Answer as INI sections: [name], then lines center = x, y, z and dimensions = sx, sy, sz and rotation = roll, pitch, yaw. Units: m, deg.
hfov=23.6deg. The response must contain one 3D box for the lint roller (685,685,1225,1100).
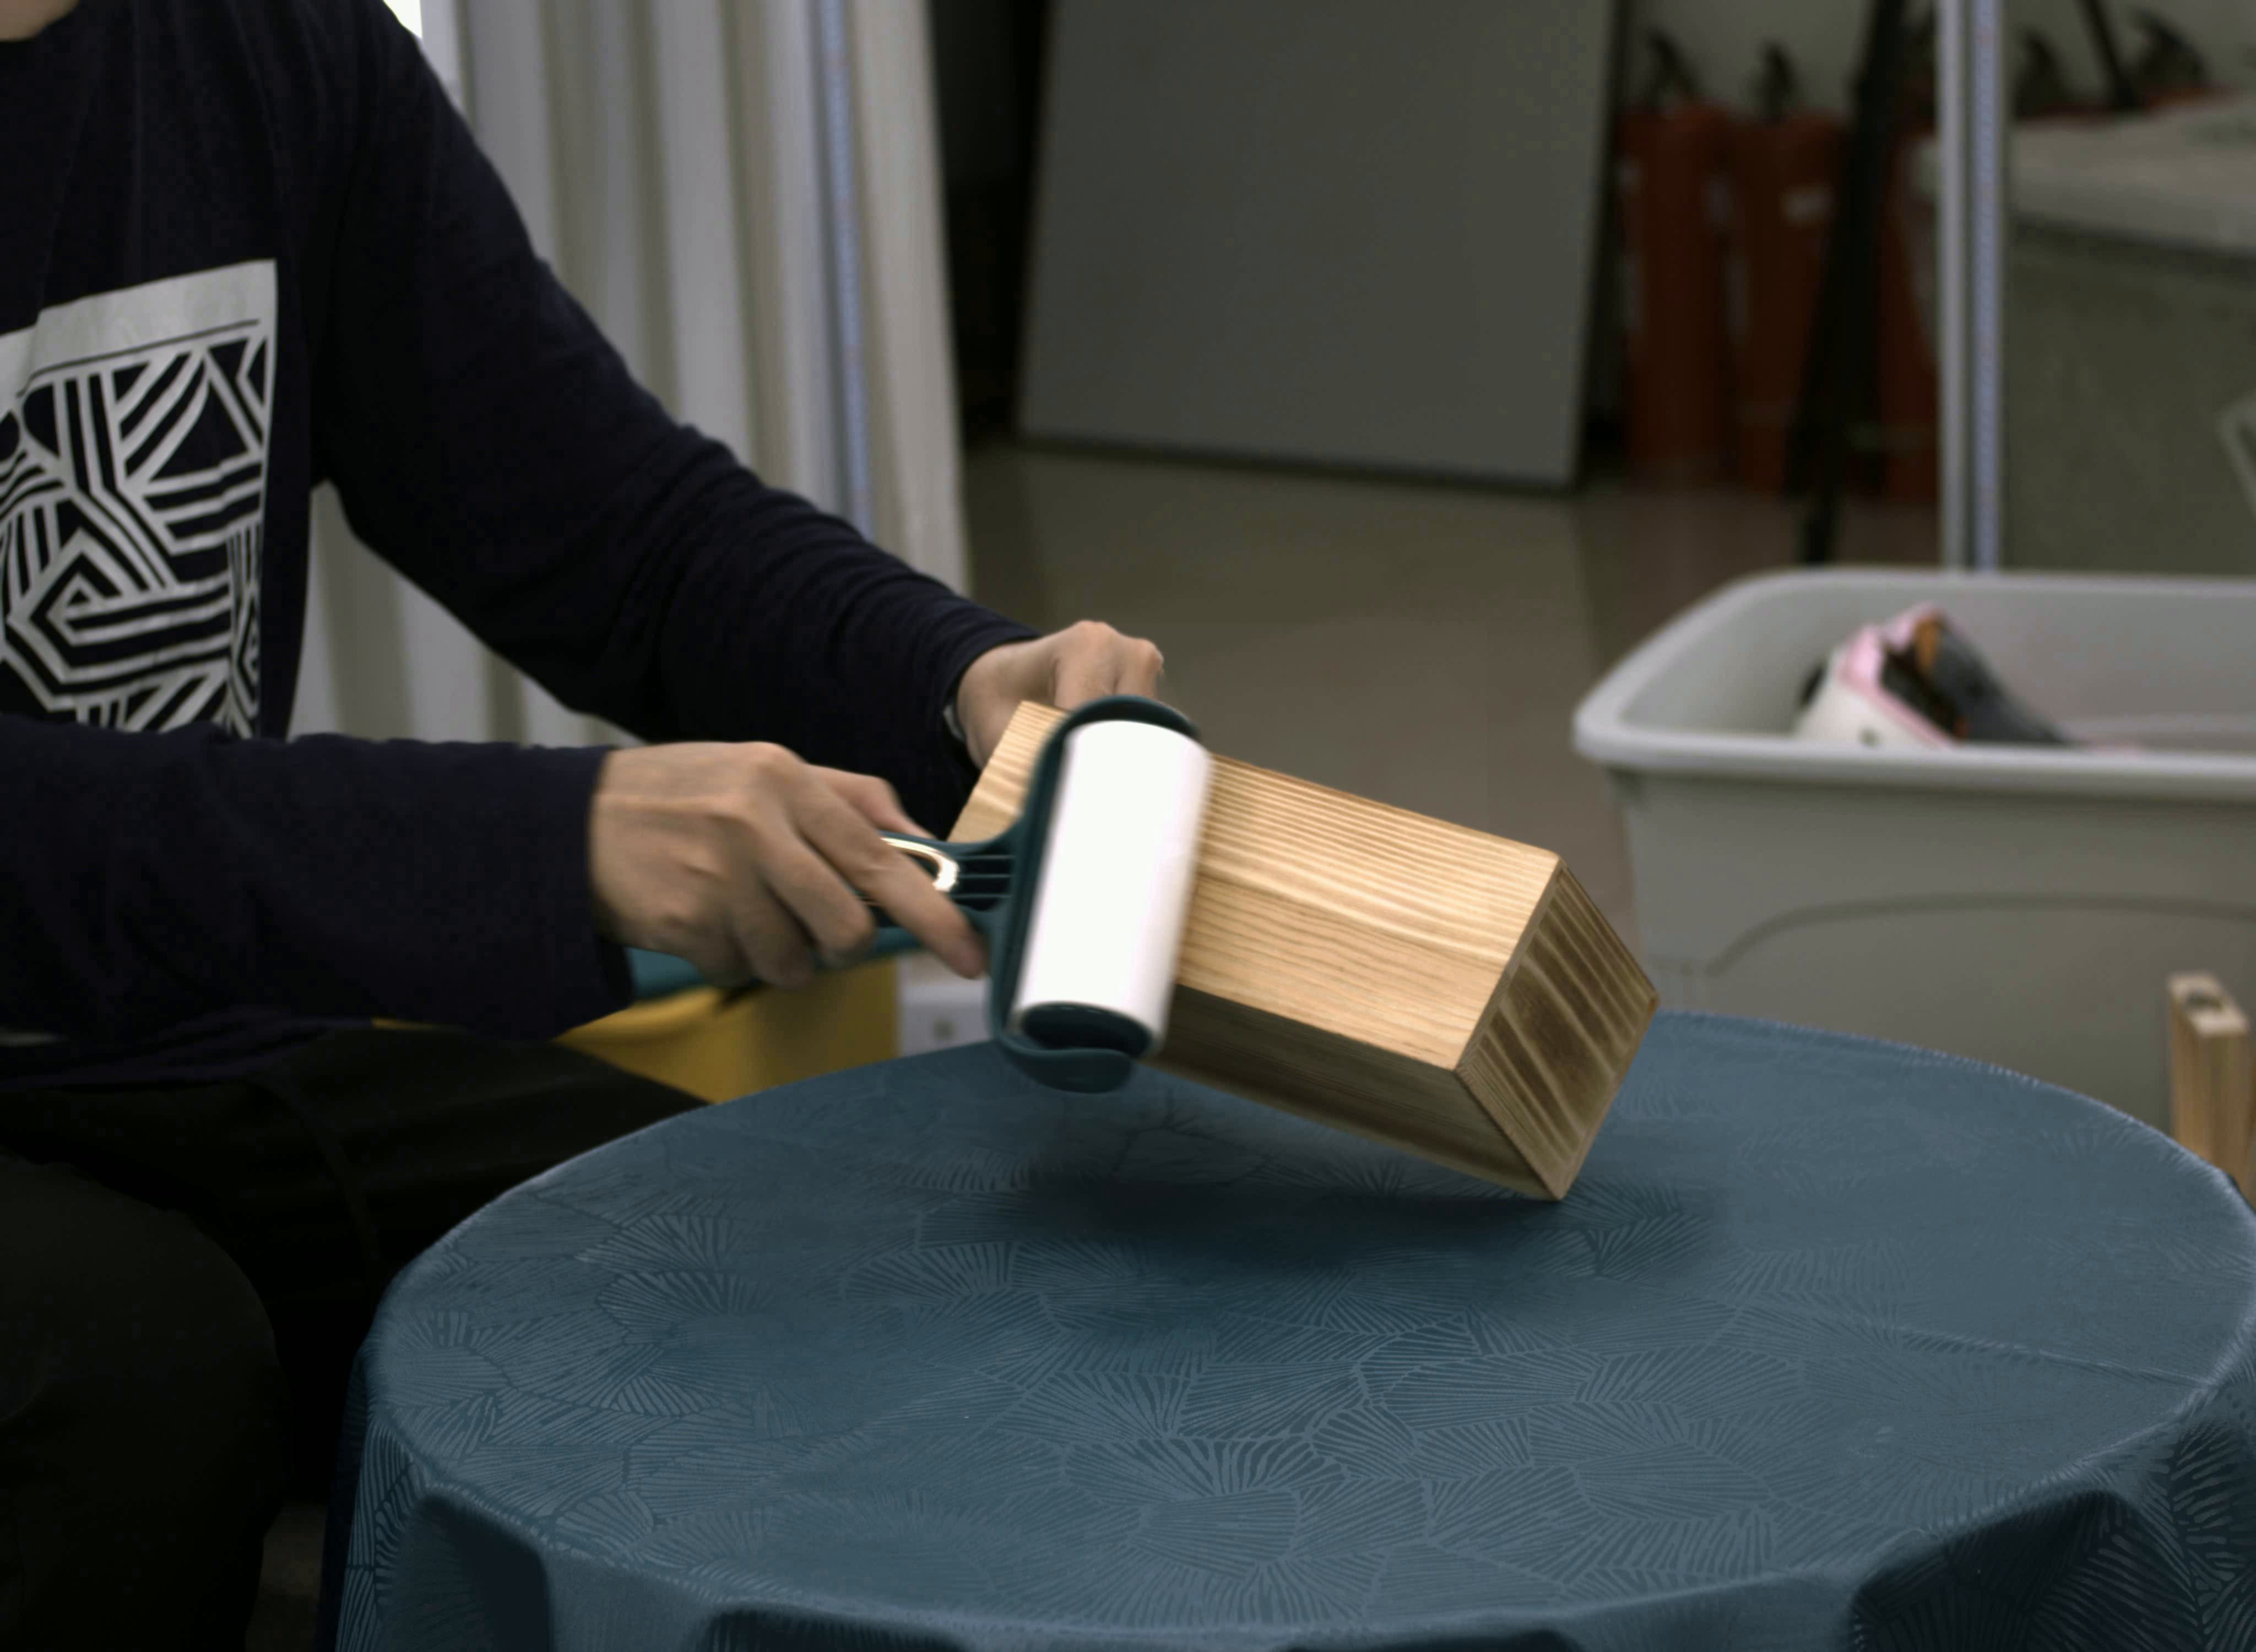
[lint roller]
center = -0.063, 0.018, 1.720
dimensions = 0.179, 0.135, 0.048
rotation = 3, -27, 17

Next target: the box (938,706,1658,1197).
[box]
center = 0.053, 0.040, 1.758
dimensions = 0.212, 0.080, 0.106
rotation = 15, -20, 33
